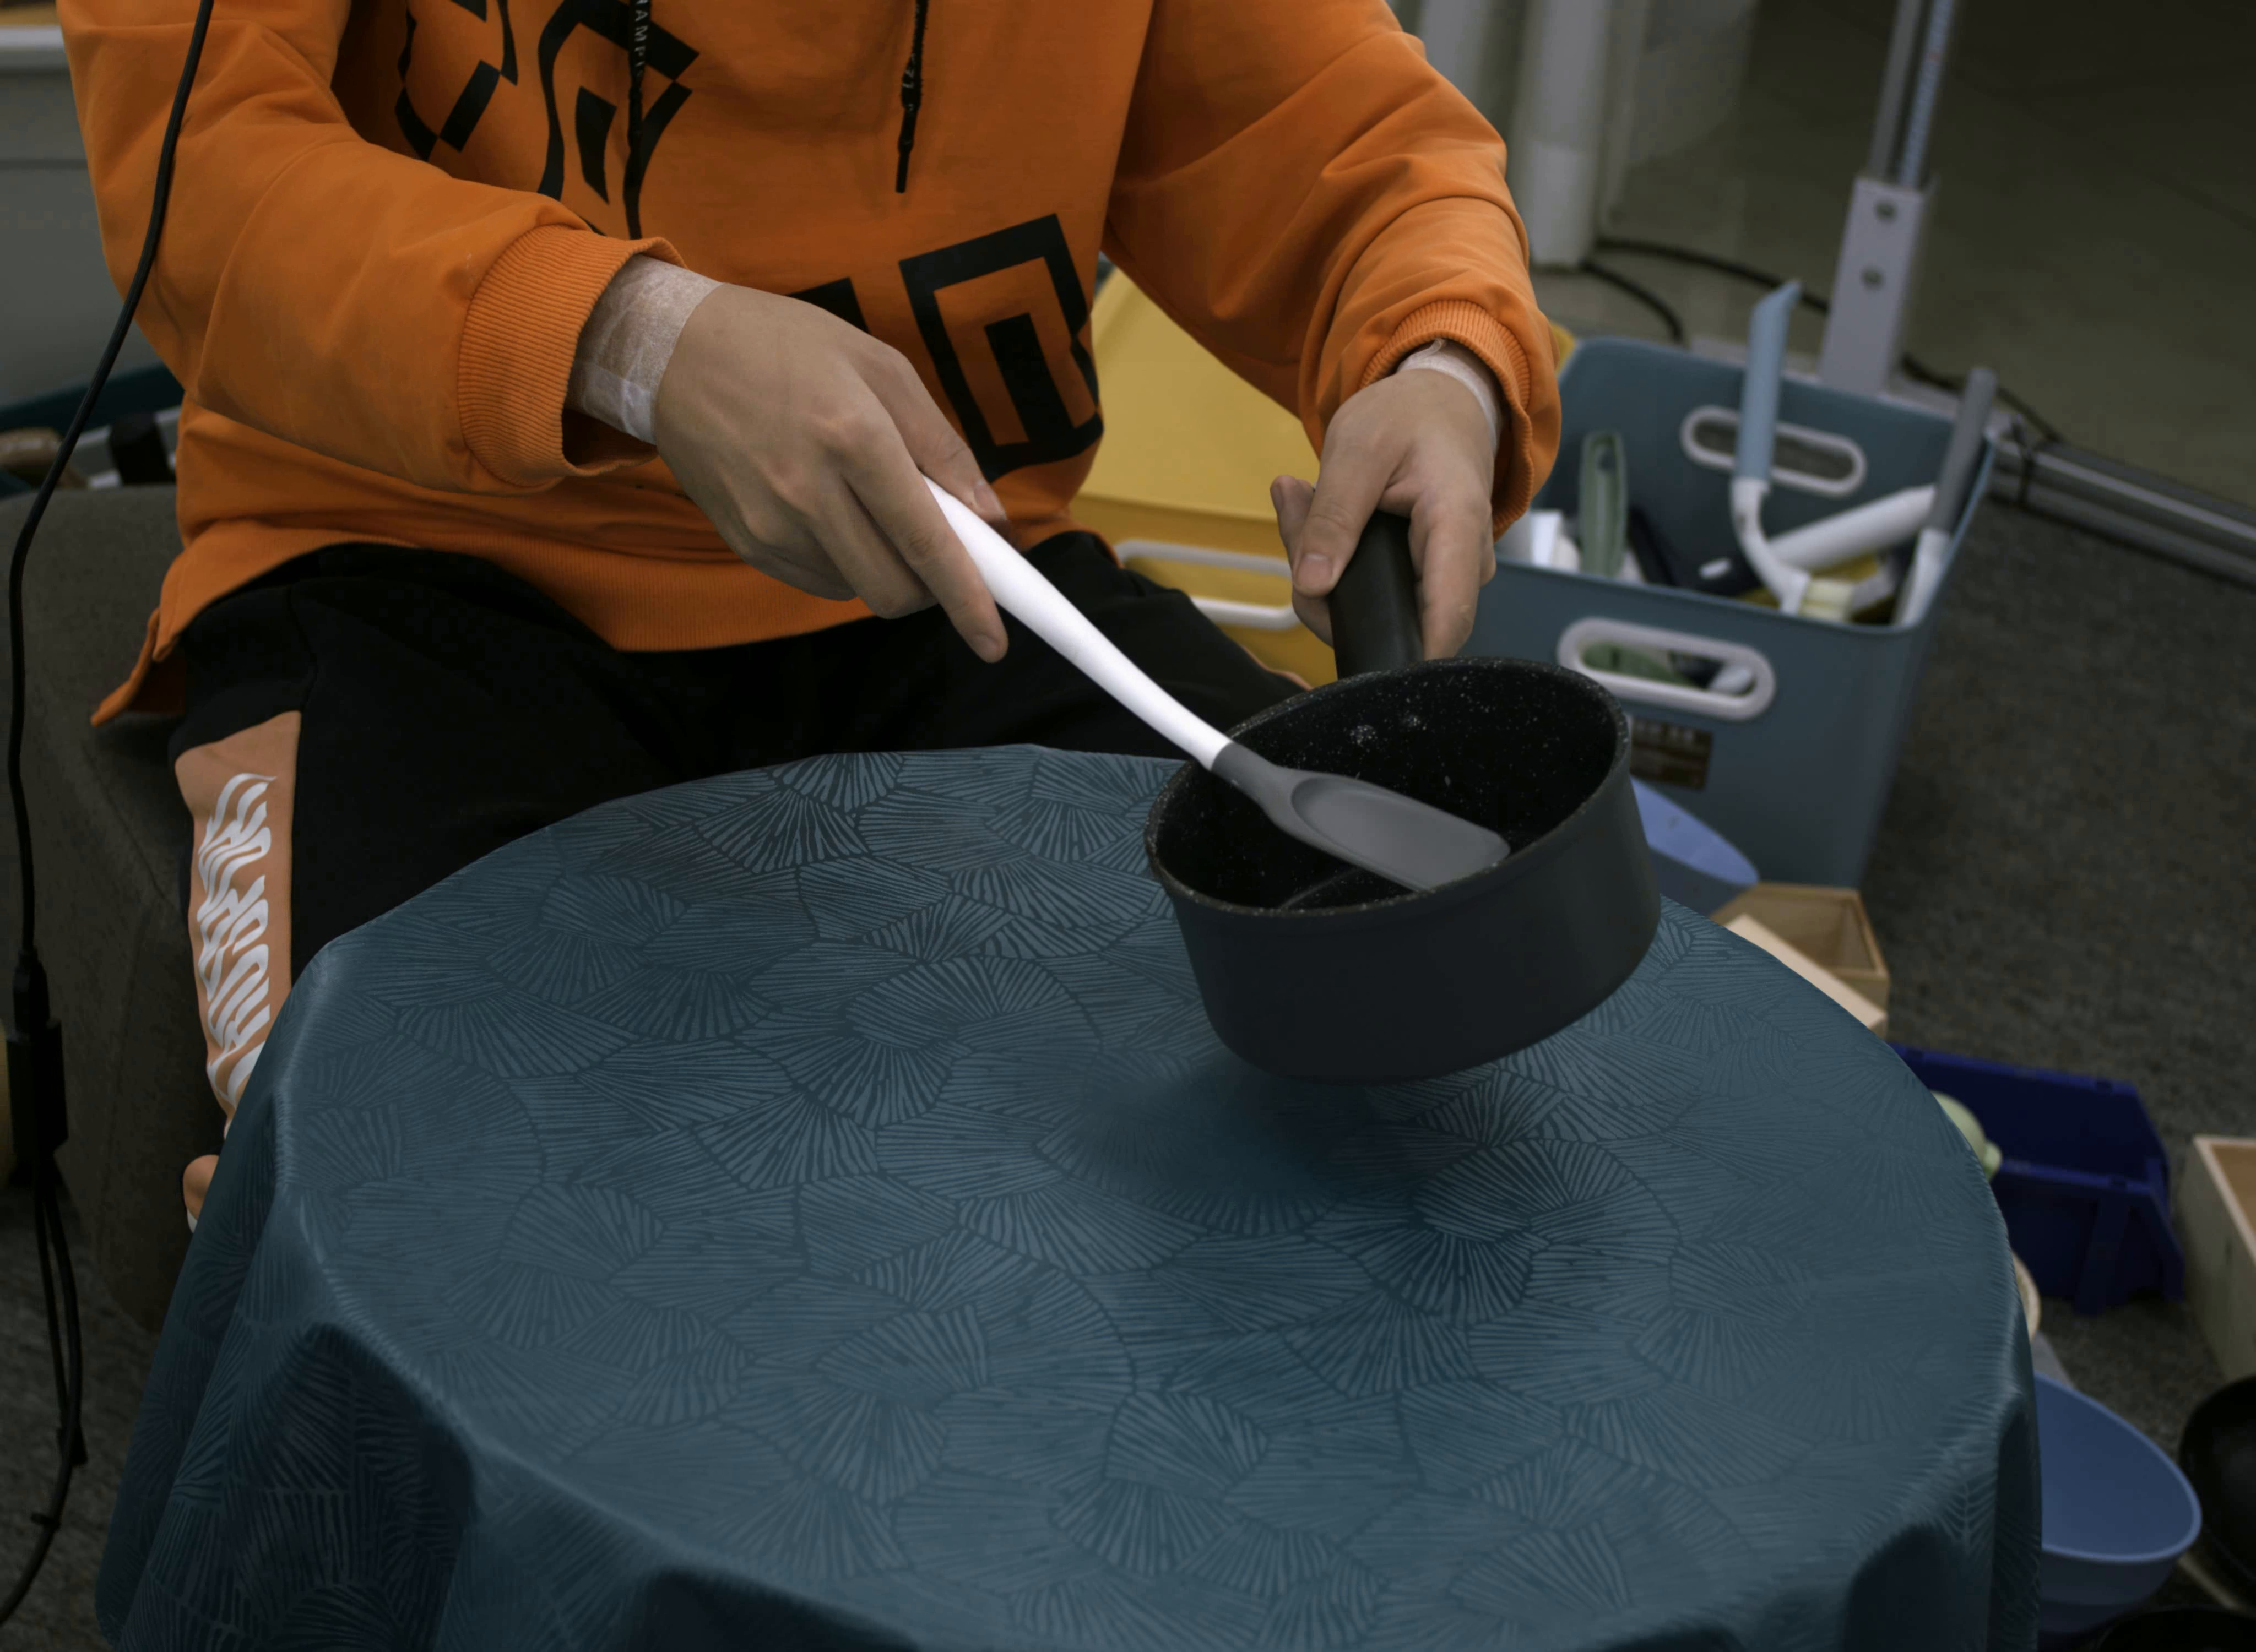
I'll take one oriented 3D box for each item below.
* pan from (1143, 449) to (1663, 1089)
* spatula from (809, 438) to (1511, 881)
[{"bbox_3d":[0.099,-0.025,1.902,0.172,0.086,0.331,-12,29,9],"label":"pan"},{"bbox_3d":[0.008,-0.050,1.870,0.289,0.032,0.058,34,31,18],"label":"spatula"}]
